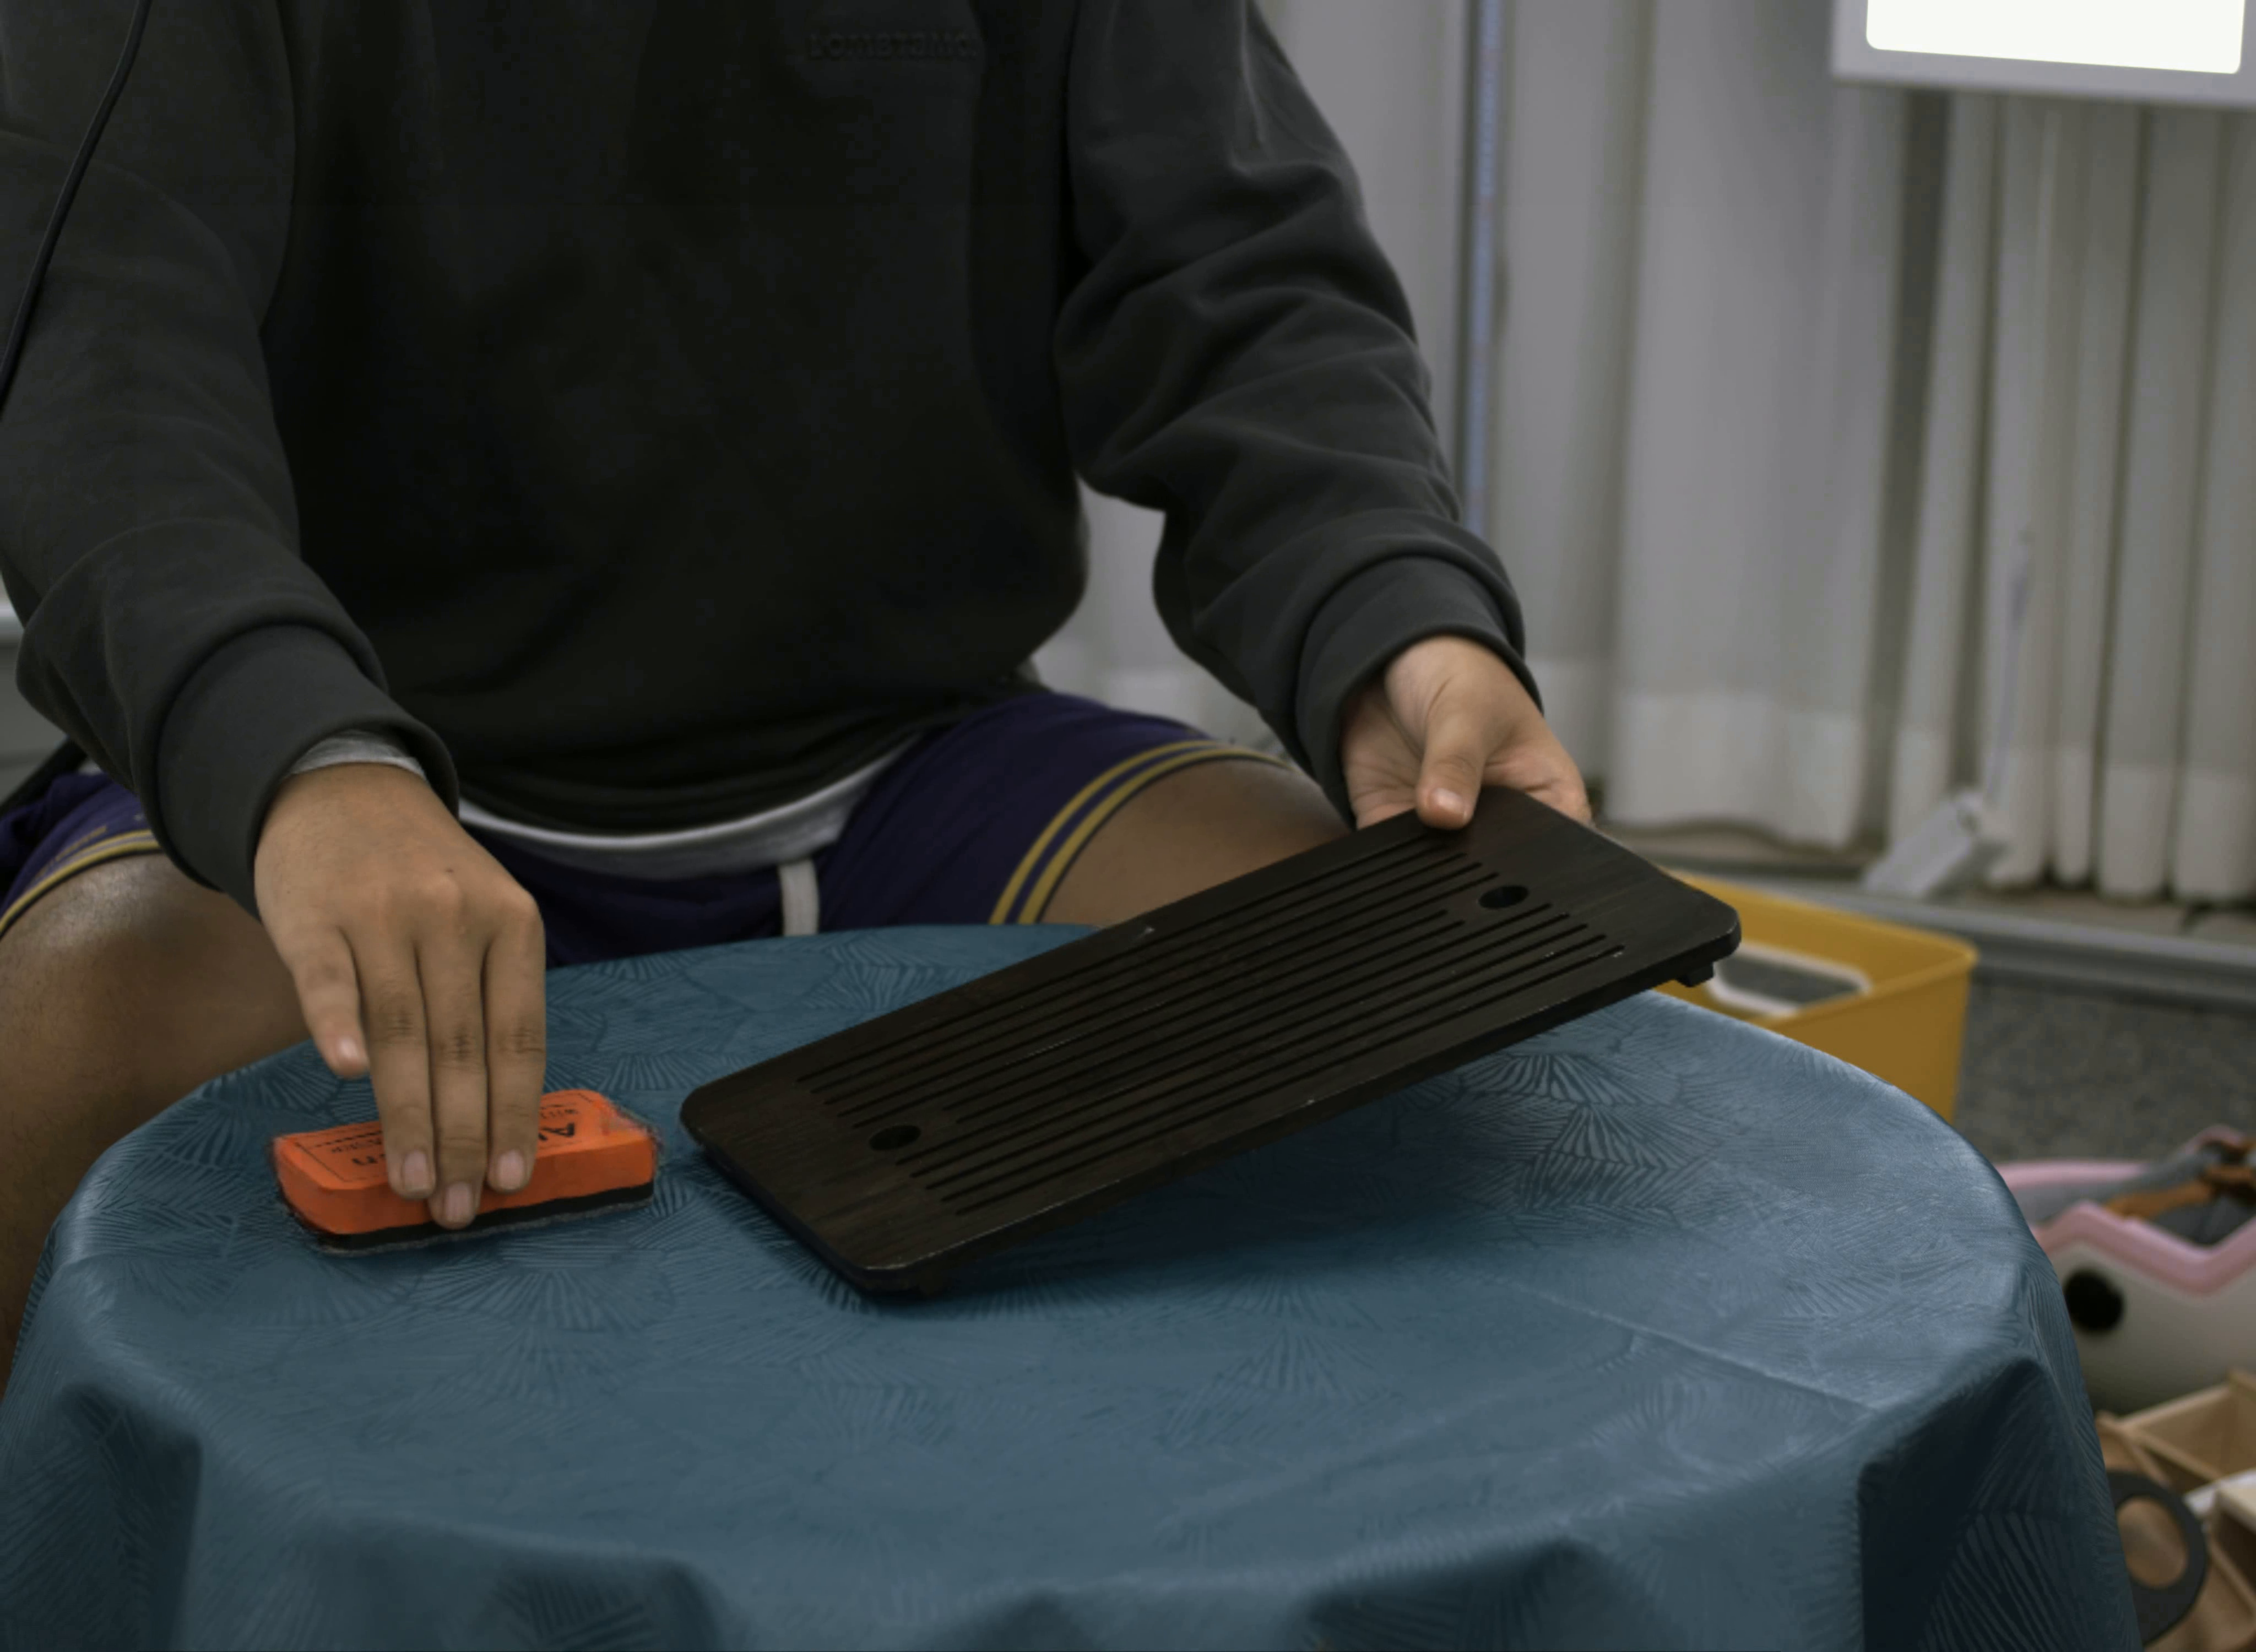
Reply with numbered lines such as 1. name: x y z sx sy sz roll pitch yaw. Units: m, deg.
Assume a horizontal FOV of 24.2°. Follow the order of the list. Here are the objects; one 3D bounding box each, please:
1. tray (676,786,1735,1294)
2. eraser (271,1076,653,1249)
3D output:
1. tray: 0.024 0.064 1.641 0.306 0.019 0.168 -21 24 -20
2. eraser: -0.202 0.101 1.599 0.108 0.023 0.058 -10 18 -28
